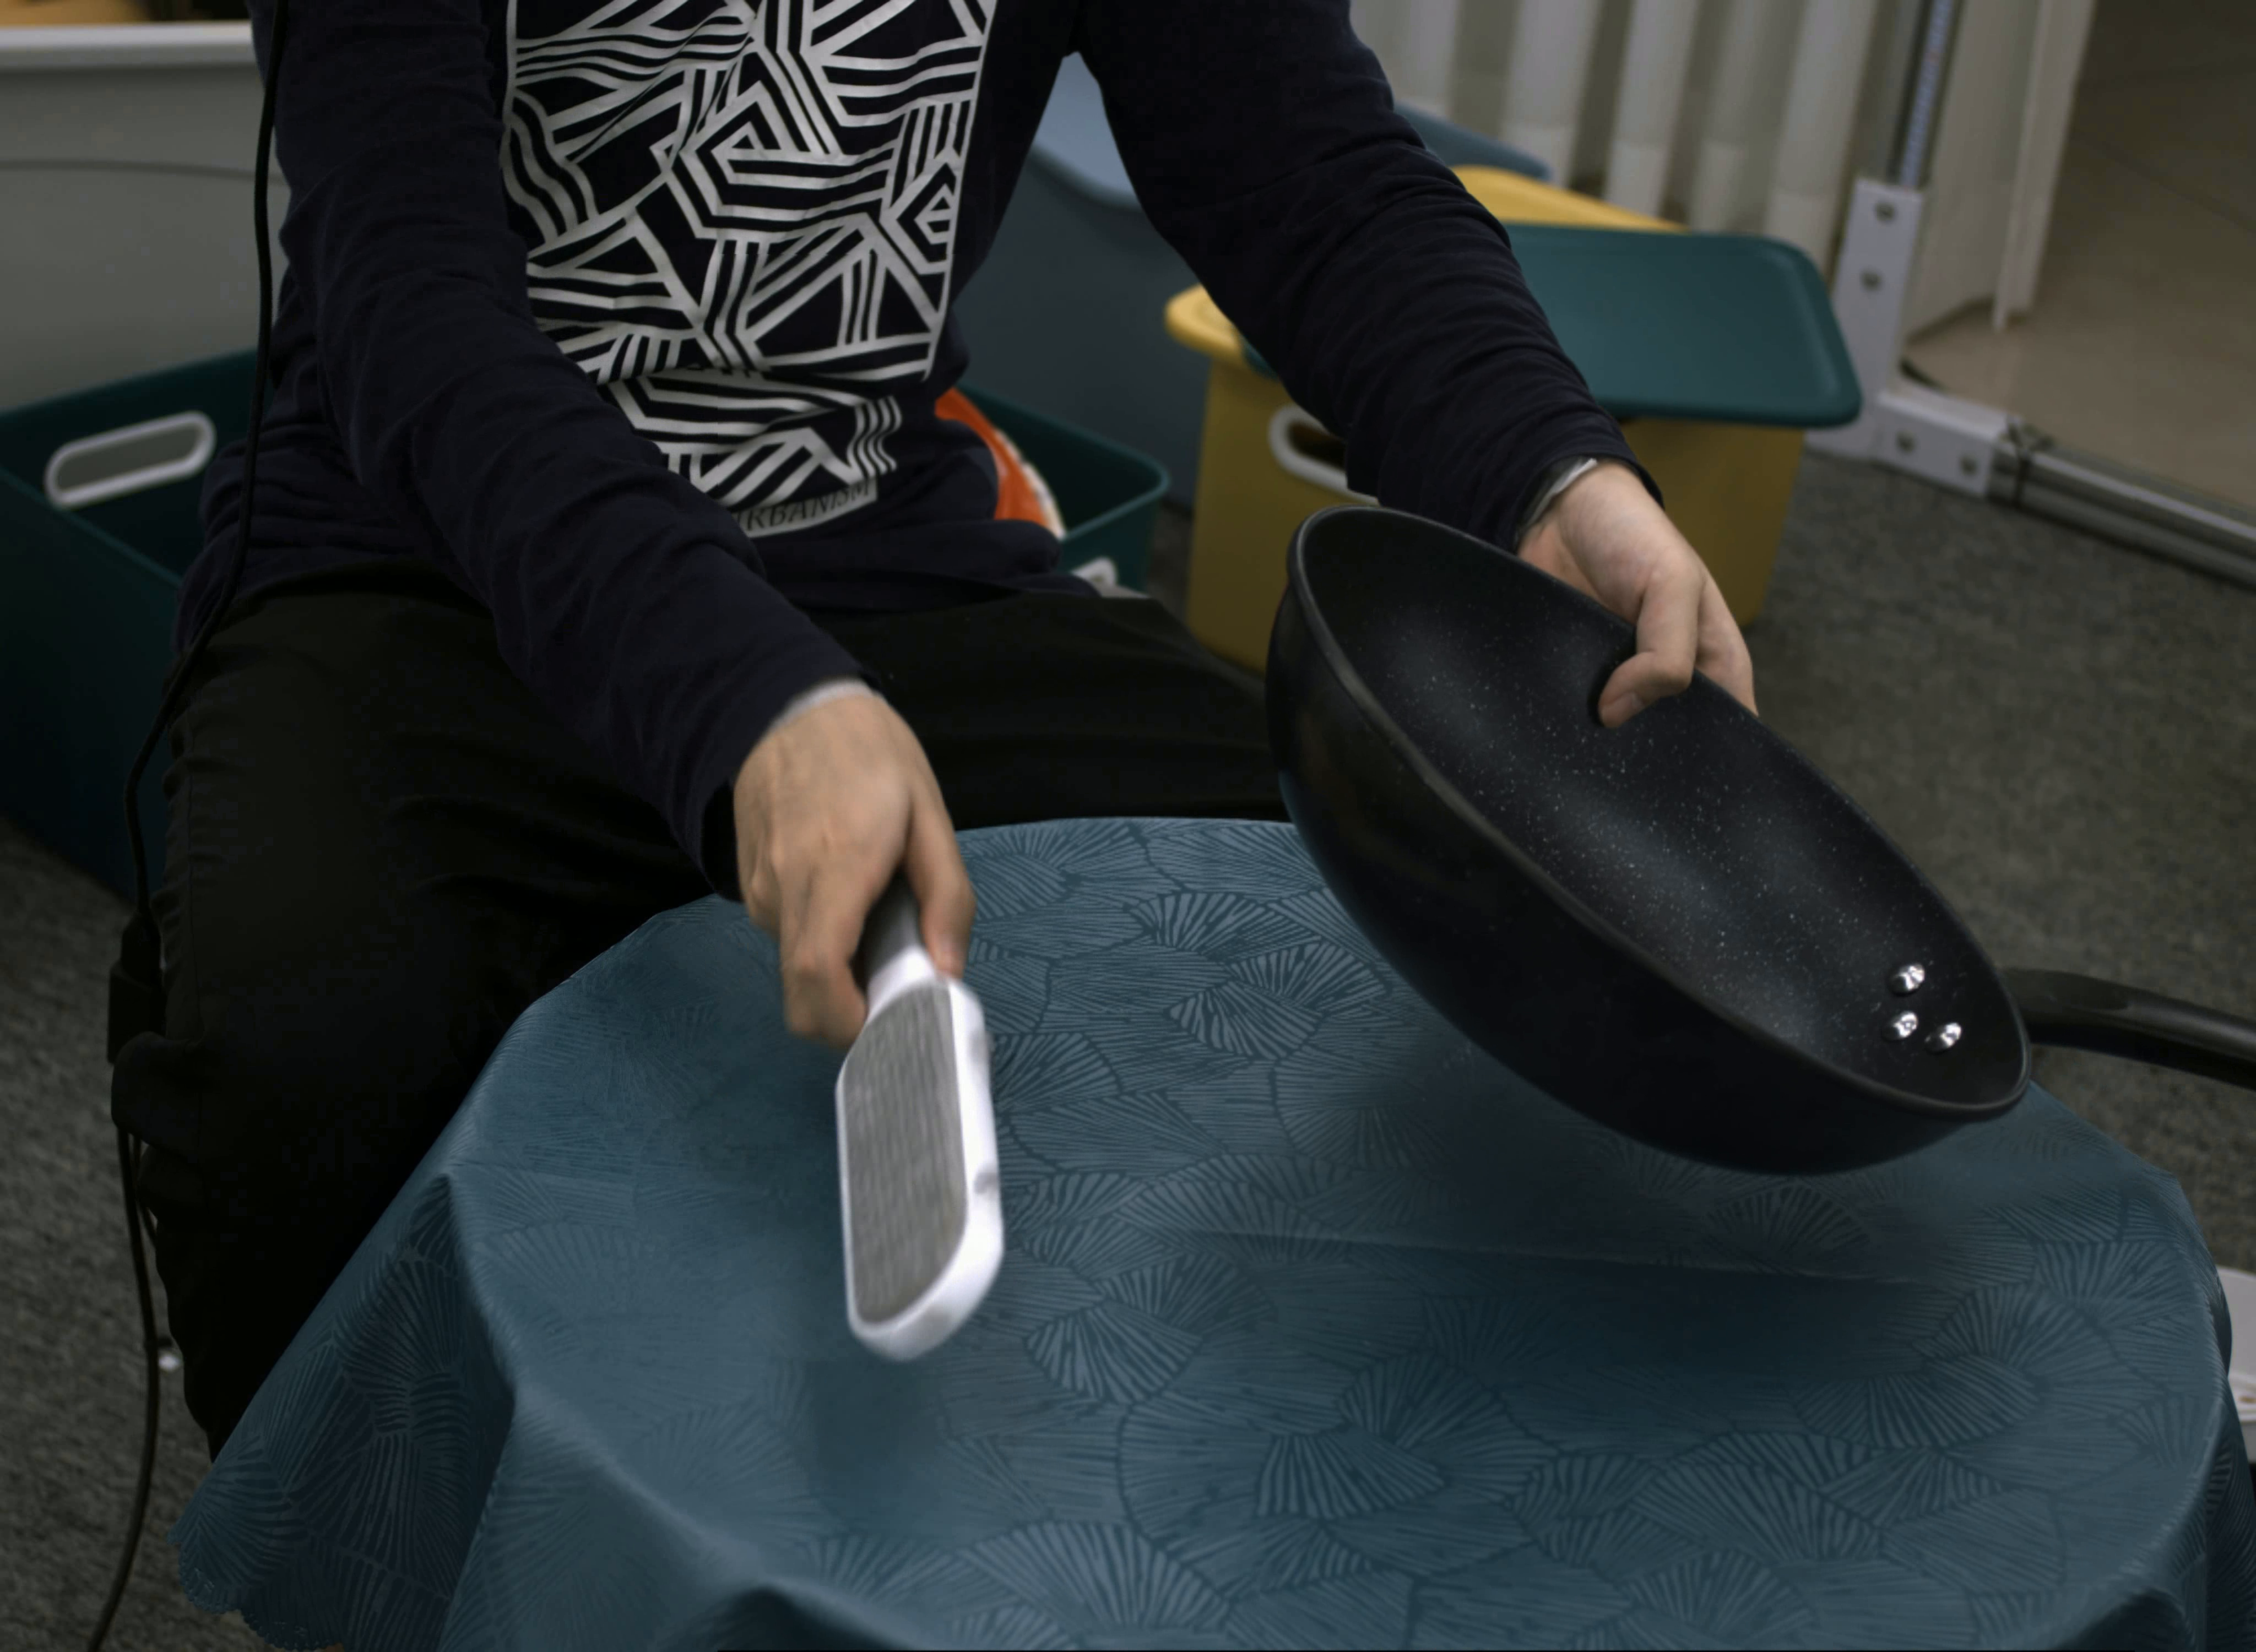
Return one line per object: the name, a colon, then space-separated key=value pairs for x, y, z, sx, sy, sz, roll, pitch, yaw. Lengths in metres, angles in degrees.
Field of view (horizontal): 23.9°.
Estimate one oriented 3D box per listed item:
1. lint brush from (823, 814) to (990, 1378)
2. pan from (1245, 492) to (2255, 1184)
lint brush: x=-0.075 y=0.080 z=1.743 sx=0.021 sy=0.060 sz=0.311 roll=41 pitch=19 yaw=-24
pan: x=0.224 y=0.044 z=1.826 sx=0.473 sy=0.111 sz=0.313 roll=26 pitch=24 yaw=-28
